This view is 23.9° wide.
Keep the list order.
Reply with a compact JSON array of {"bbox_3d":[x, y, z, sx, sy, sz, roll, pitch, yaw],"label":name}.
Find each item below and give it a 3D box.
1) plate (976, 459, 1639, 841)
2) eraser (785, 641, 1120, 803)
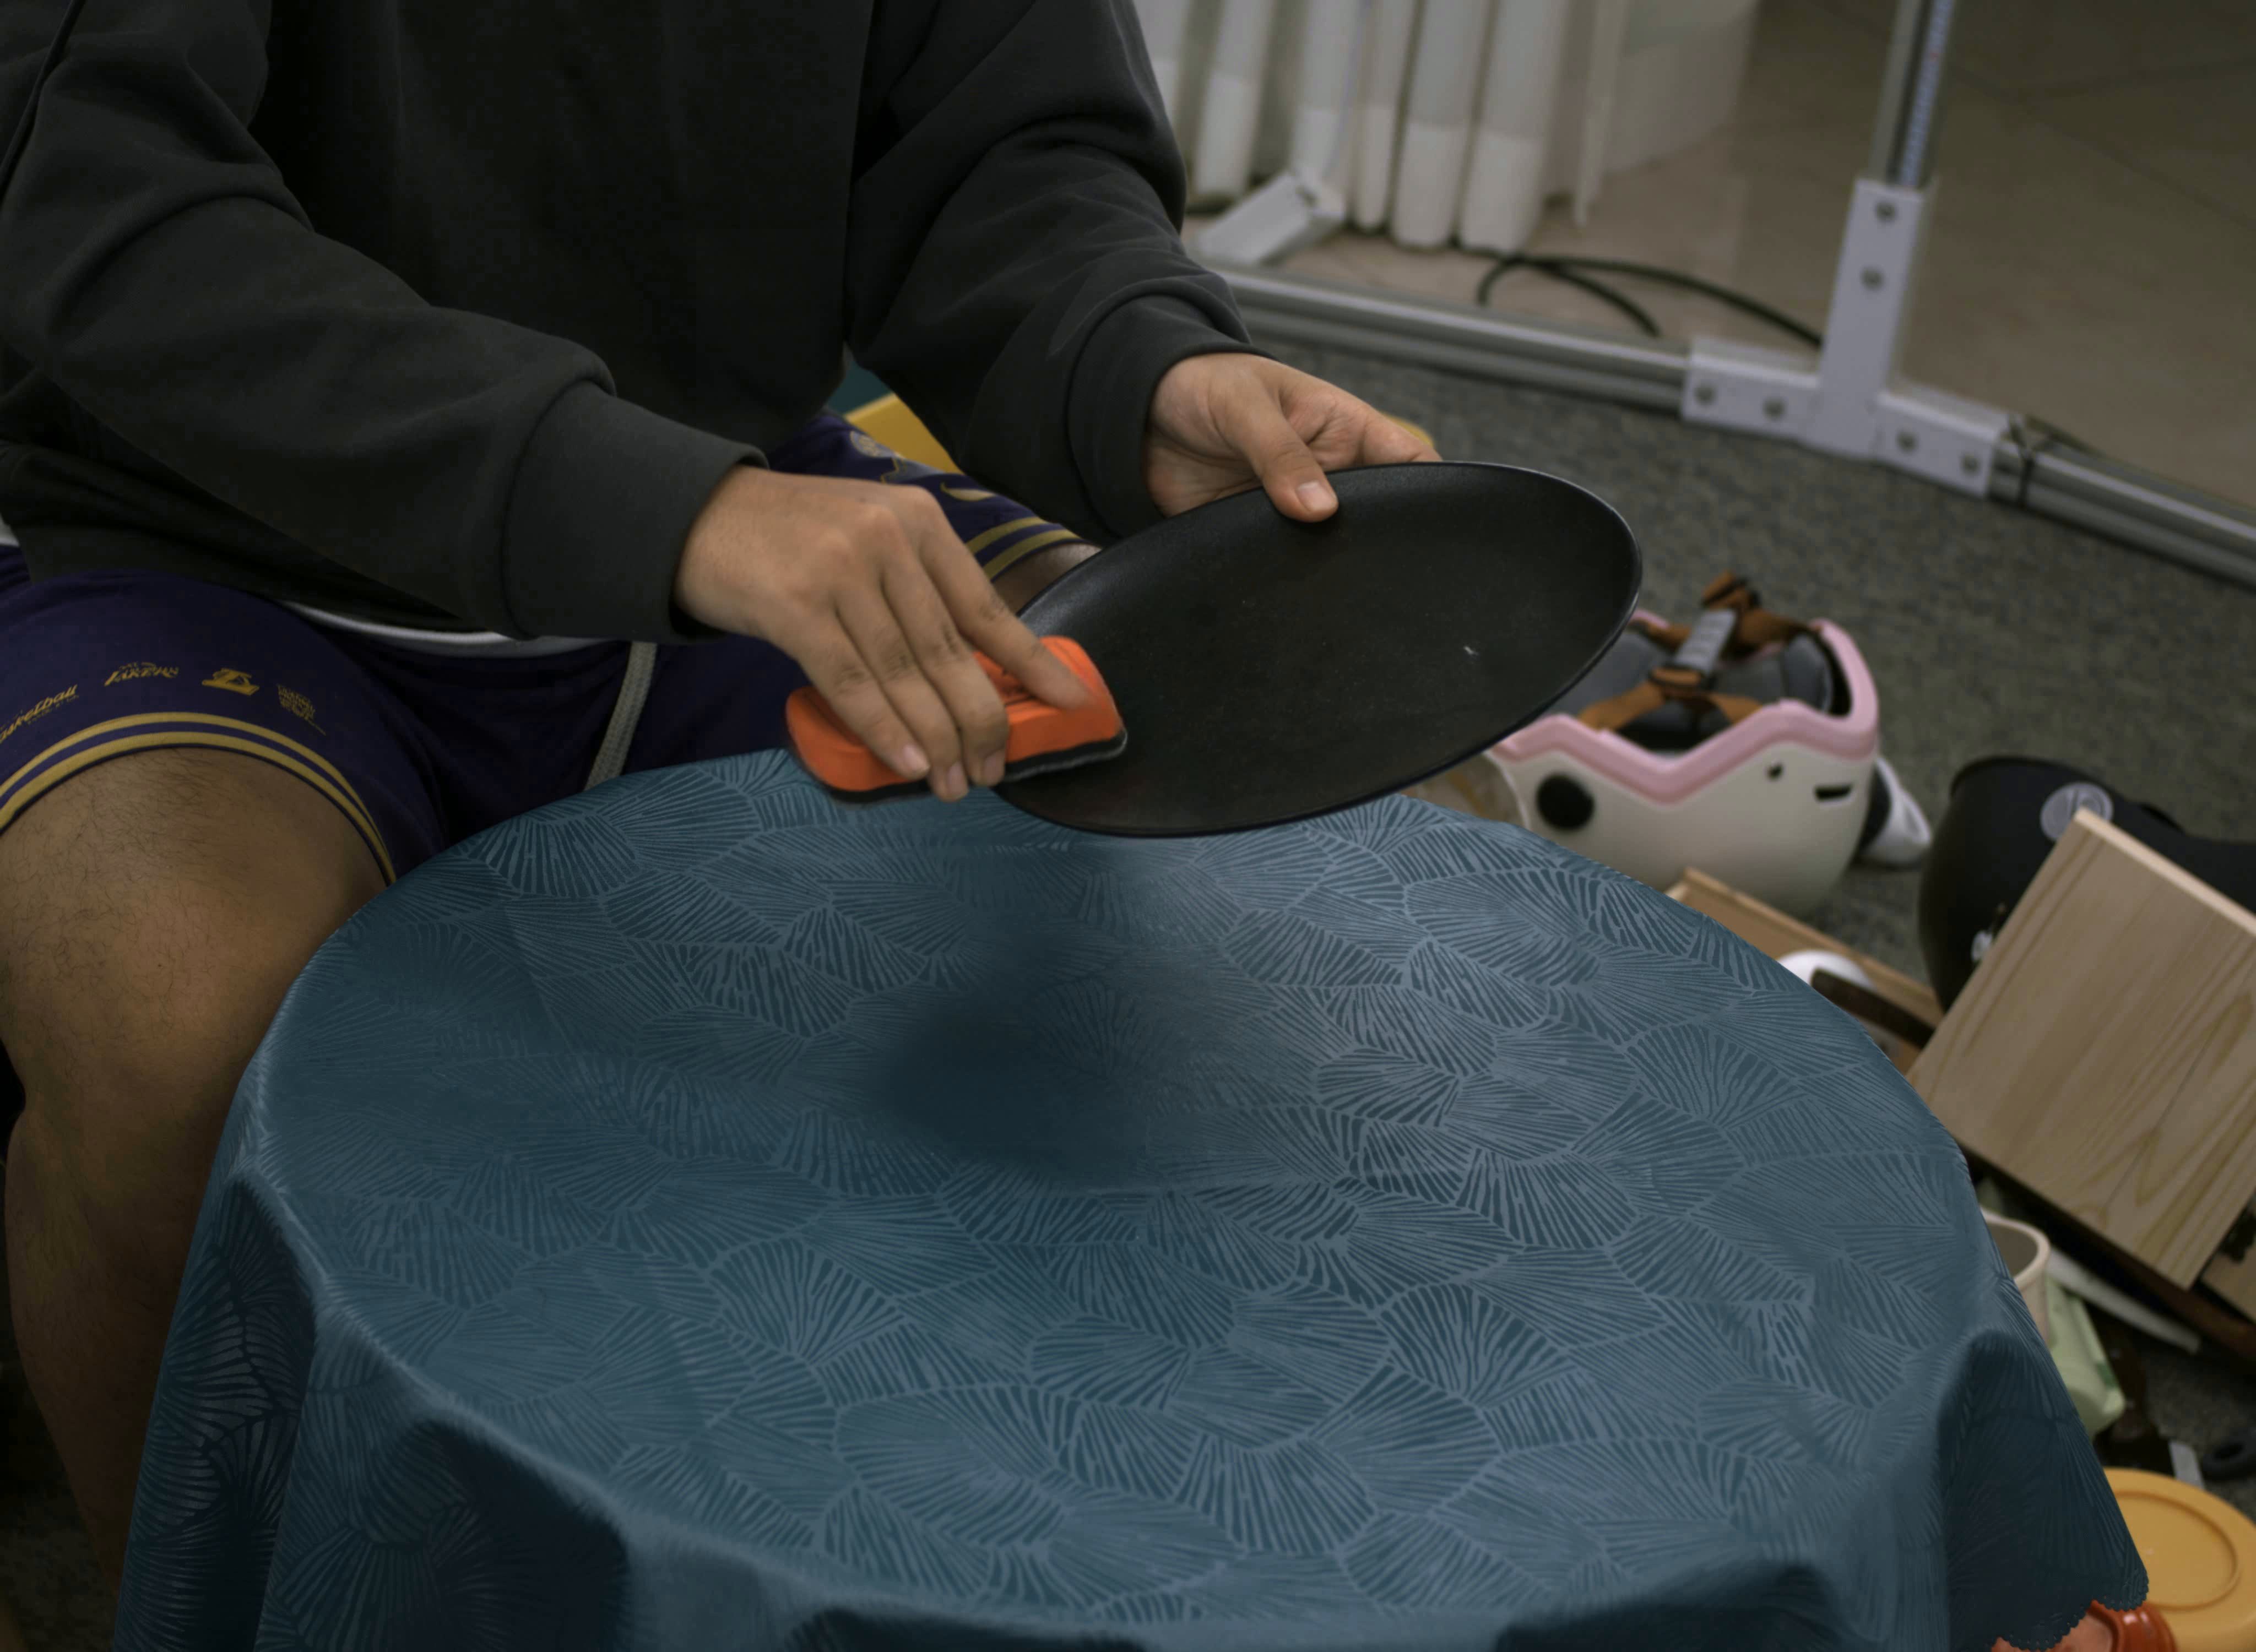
[{"bbox_3d":[0.060,-0.057,1.838,0.244,0.023,0.246,-14,29,7],"label":"plate"},{"bbox_3d":[-0.060,-0.036,1.816,0.107,0.023,0.059,-10,28,-22],"label":"eraser"}]
